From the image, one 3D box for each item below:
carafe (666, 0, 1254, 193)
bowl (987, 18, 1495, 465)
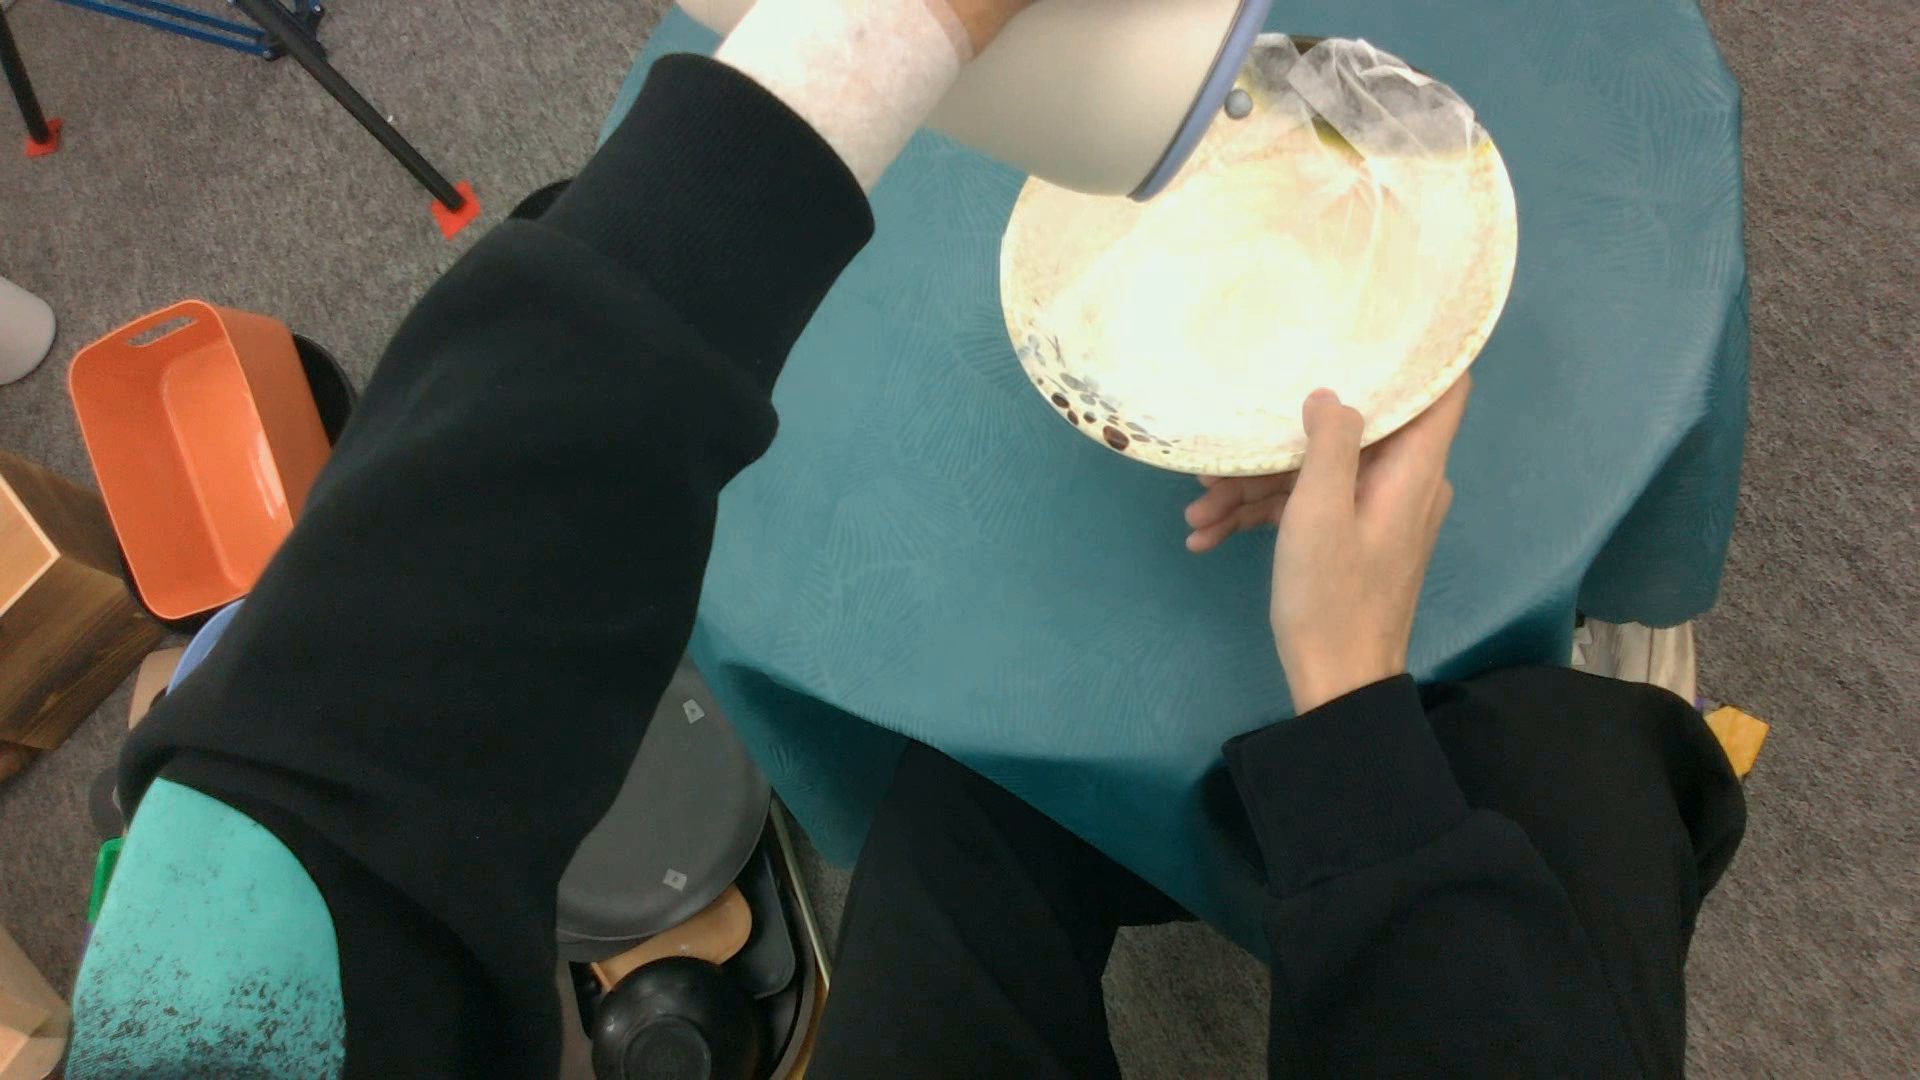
[{"bbox_3d":[0.007,-0.203,0.428,0.182,0.191,0.132,20,86,-5],"label":"carafe"},{"bbox_3d":[0.119,-0.116,0.593,0.204,0.078,0.204,-5,71,15],"label":"bowl"}]
